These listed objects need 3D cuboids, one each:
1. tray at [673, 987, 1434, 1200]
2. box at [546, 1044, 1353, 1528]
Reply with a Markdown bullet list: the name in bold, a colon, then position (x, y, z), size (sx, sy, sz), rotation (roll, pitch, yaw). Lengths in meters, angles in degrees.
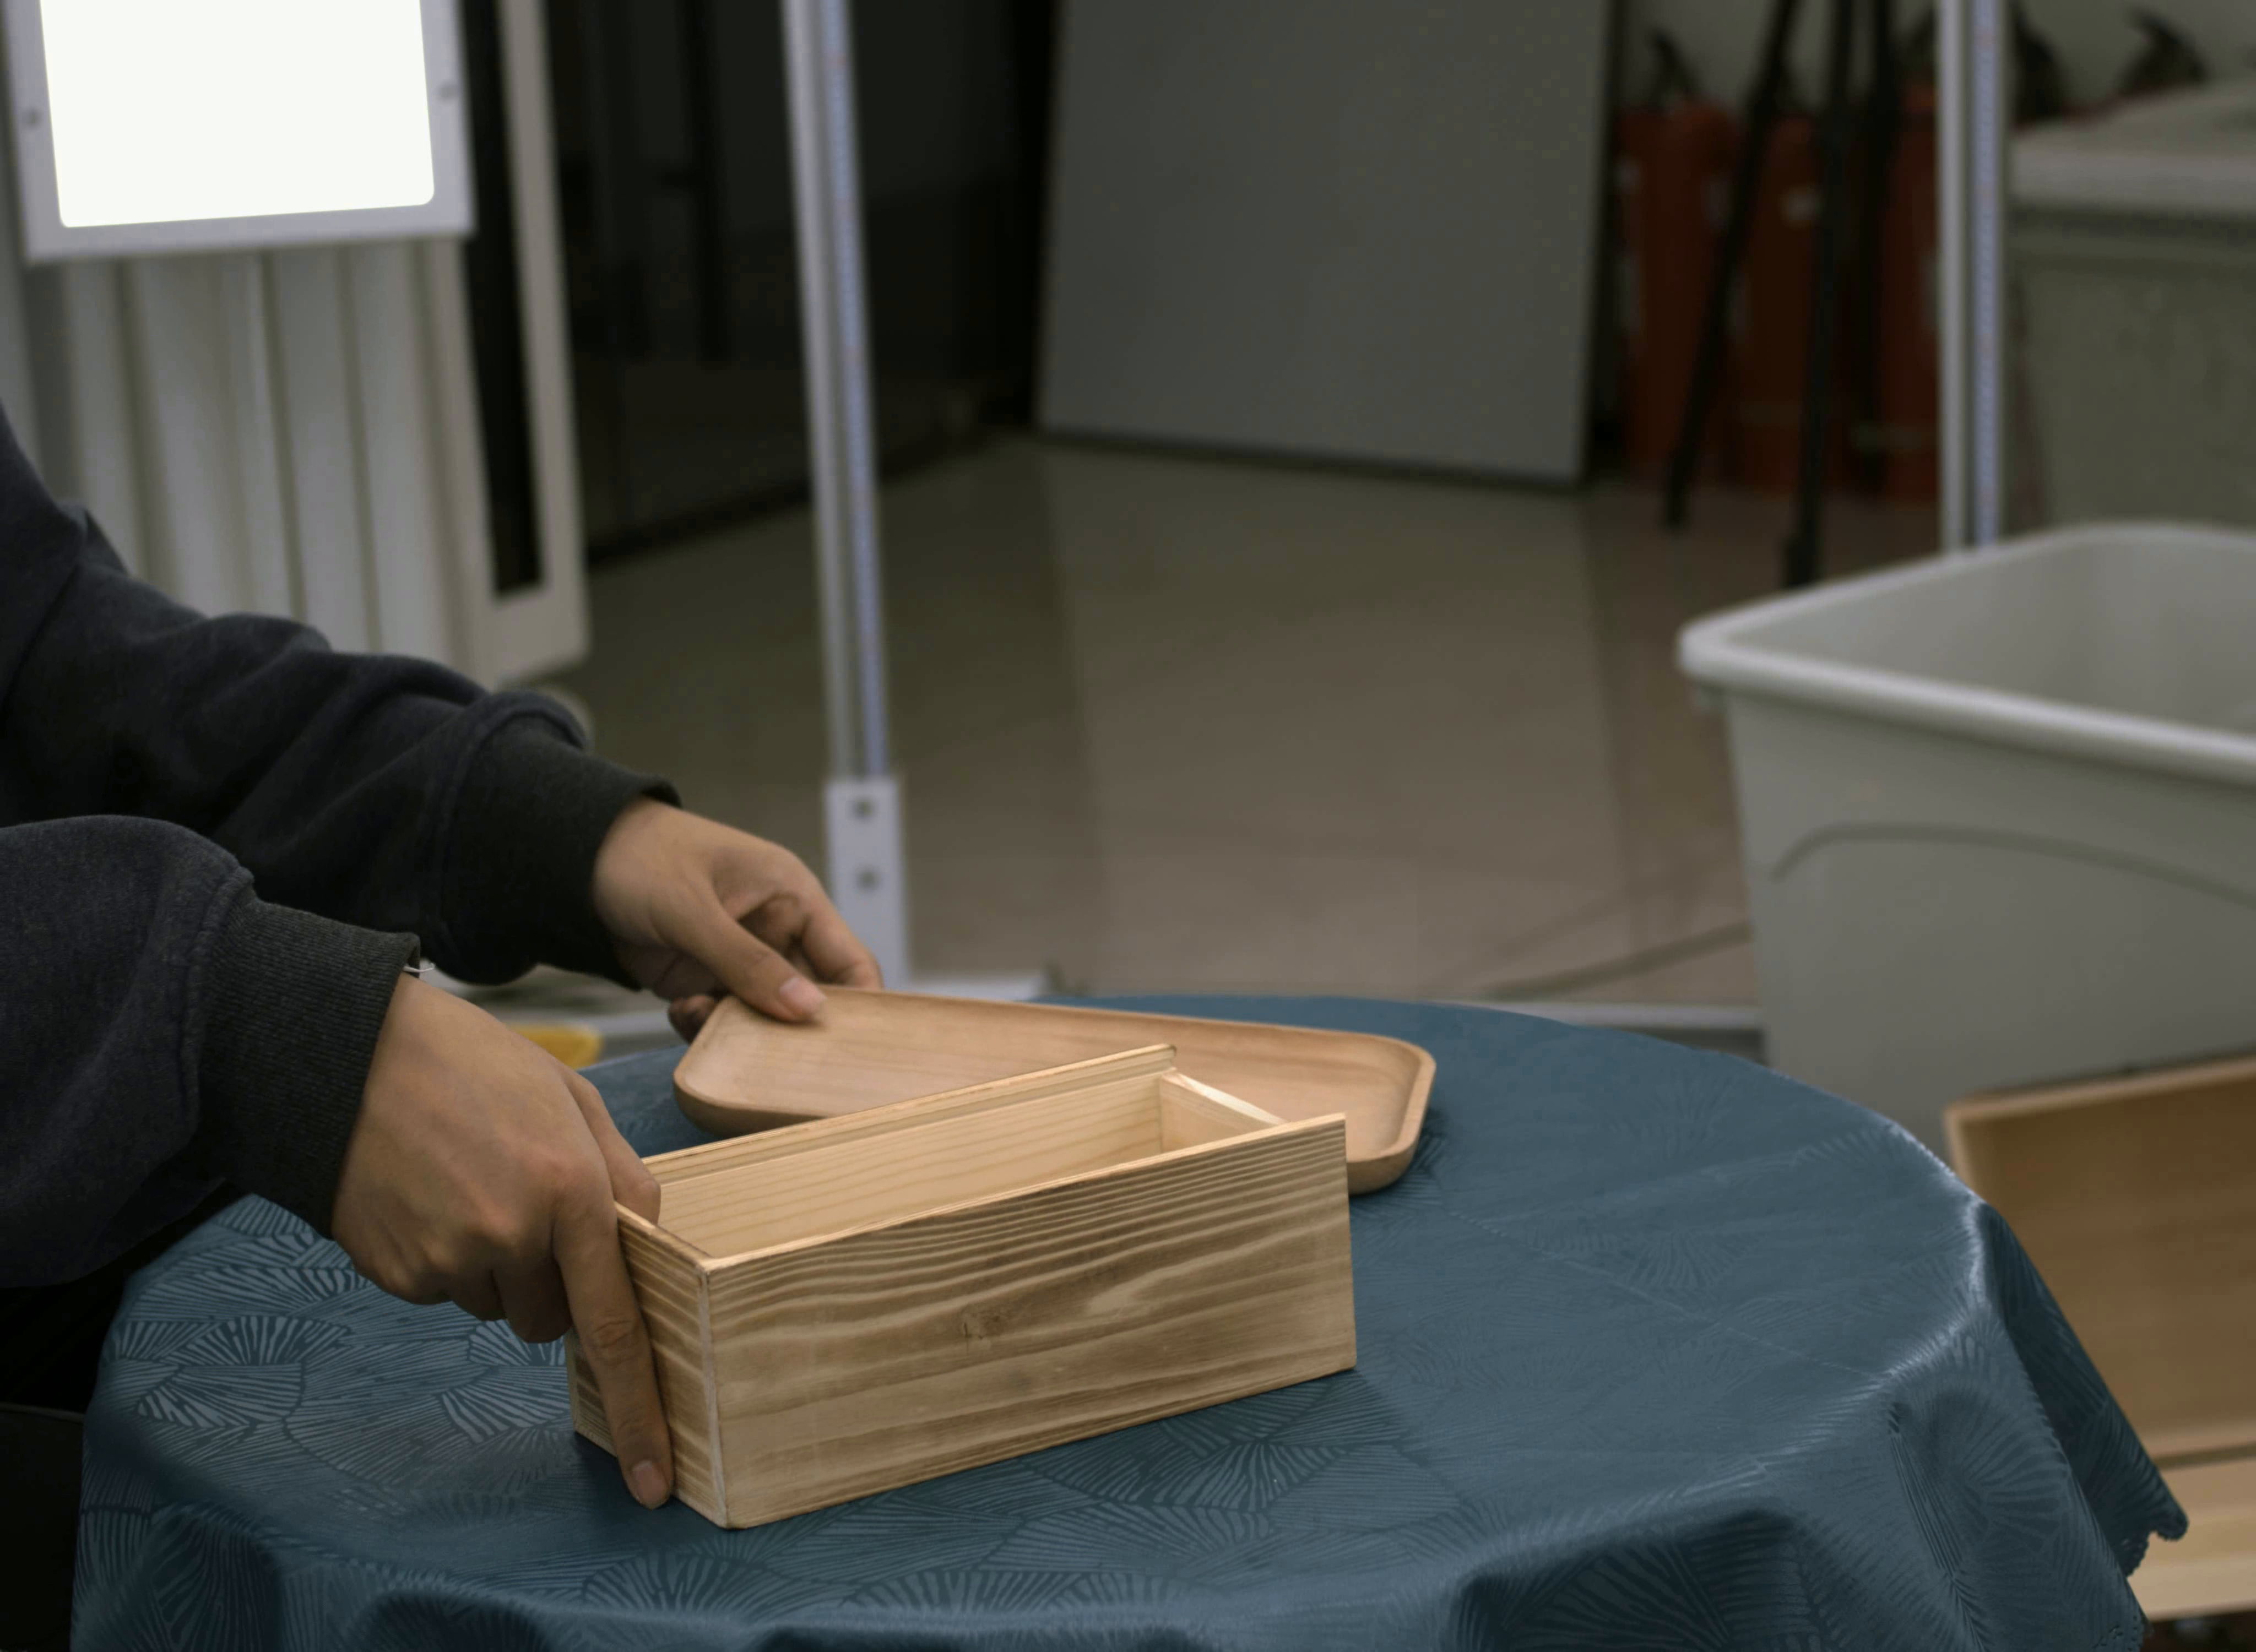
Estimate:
- **tray**: position (-0.024, 0.089, 1.812), size (0.249, 0.023, 0.130), rotation (4, 14, 10)
- **box**: position (-0.051, 0.131, 1.576), size (0.207, 0.081, 0.108), rotation (-11, 15, -27)
